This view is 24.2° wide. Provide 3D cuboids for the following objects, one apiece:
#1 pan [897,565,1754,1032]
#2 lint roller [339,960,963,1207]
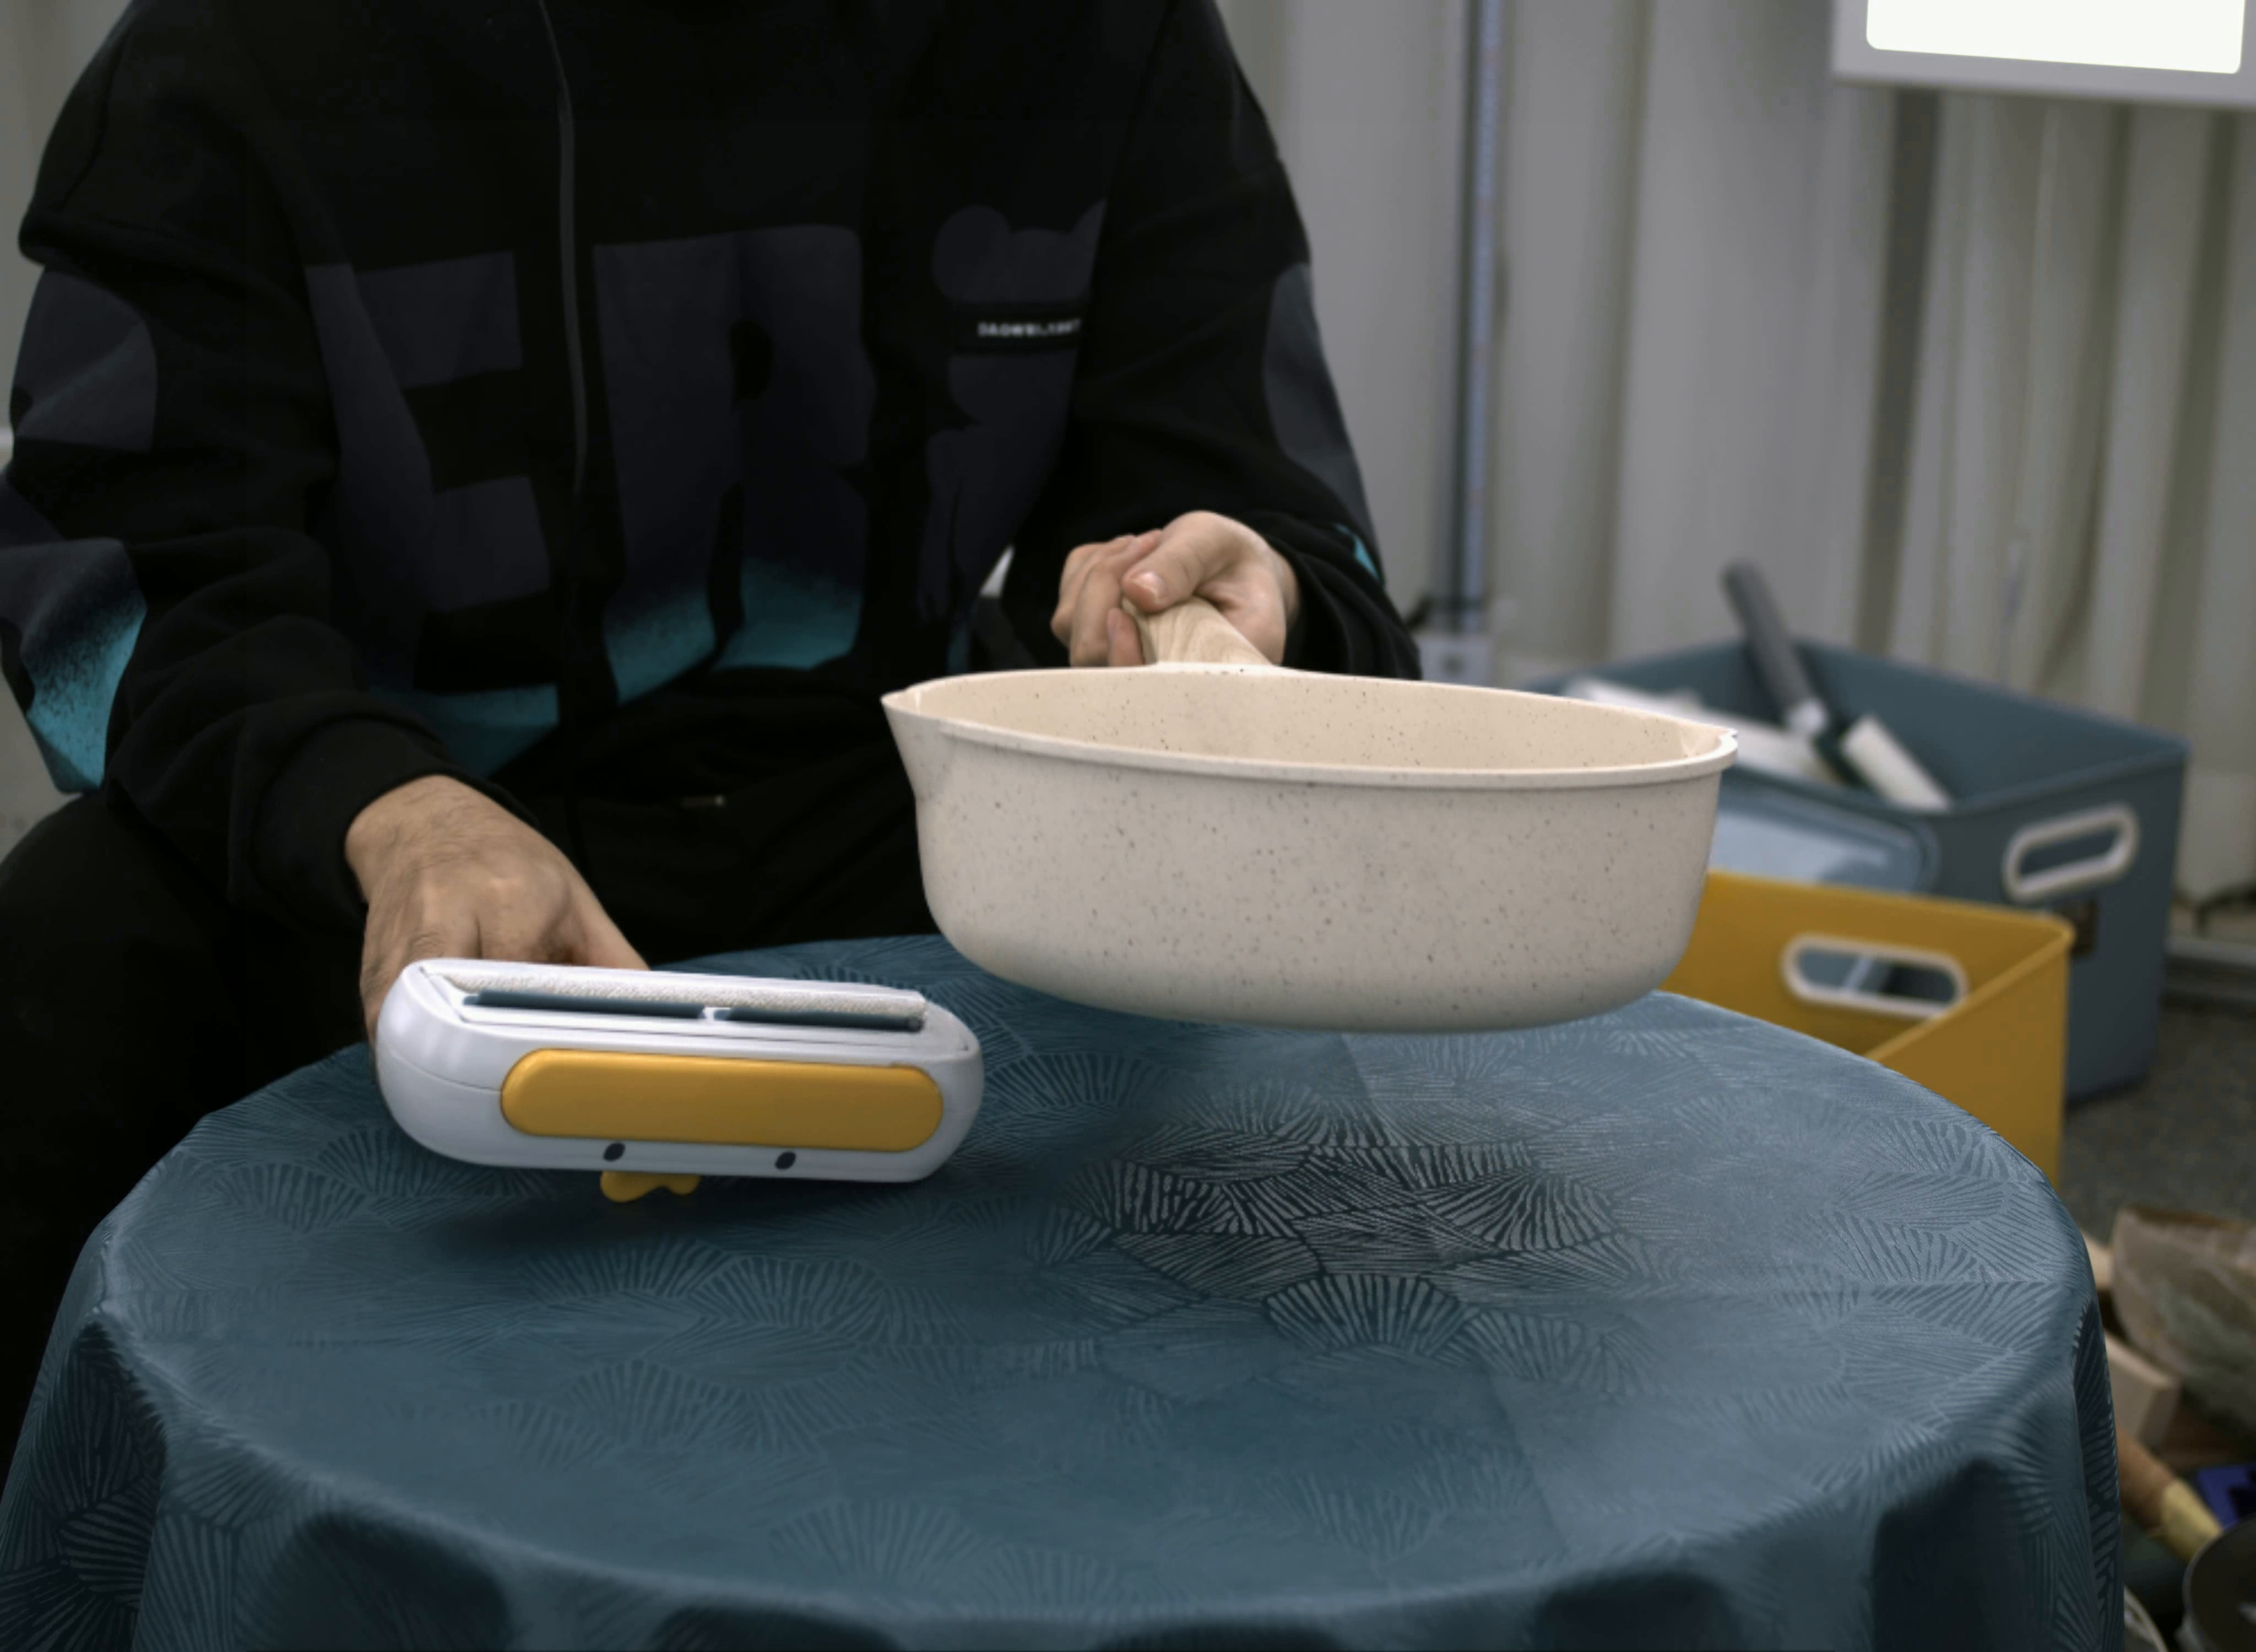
[{"bbox_3d":[0.041,-0.013,1.666,0.263,0.102,0.432,-1,8,-12],"label":"pan"},{"bbox_3d":[-0.167,0.070,1.645,0.194,0.074,0.190,0,11,-26],"label":"lint roller"}]
